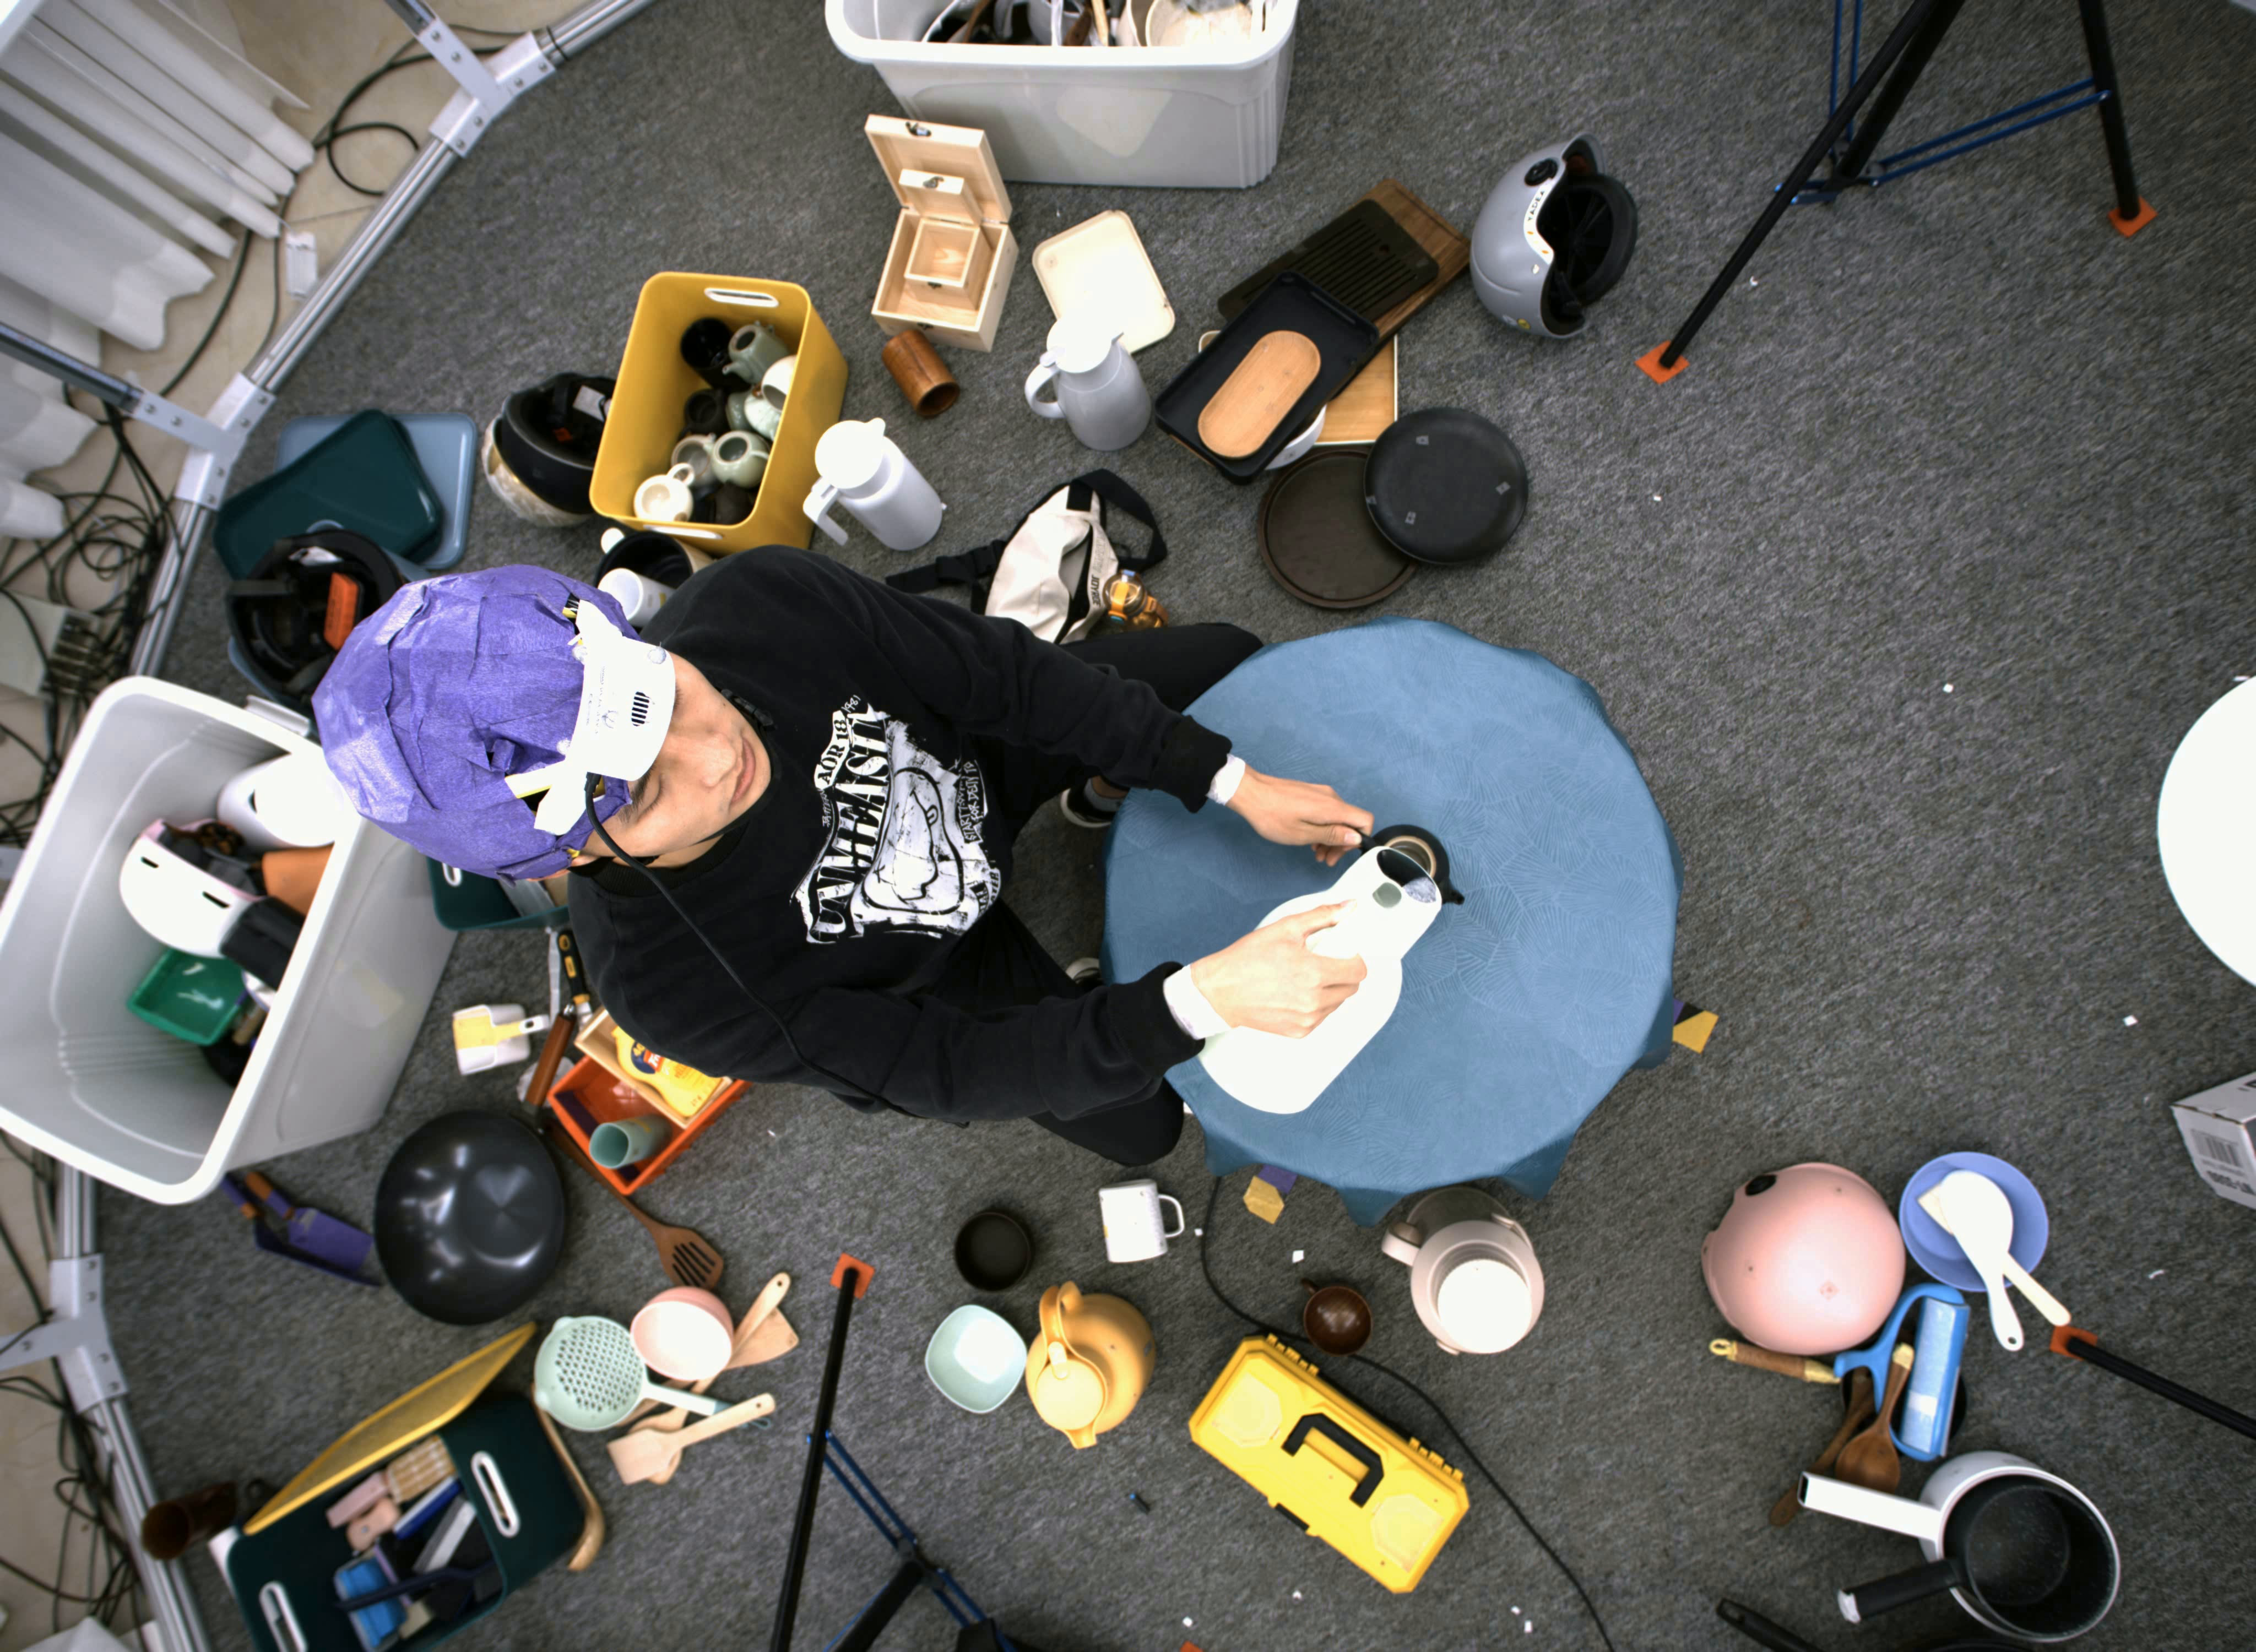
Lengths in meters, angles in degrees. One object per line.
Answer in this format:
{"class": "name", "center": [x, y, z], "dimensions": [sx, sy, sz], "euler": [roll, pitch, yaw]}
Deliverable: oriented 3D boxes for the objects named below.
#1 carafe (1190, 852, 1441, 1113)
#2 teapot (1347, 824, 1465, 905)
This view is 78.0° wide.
{"class": "carafe", "center": [0.167, 0.137, 1.225], "dimensions": [0.143, 0.183, 0.263], "euler": [43, 128, 11]}
{"class": "teapot", "center": [0.278, 0.040, 1.386], "dimensions": [0.133, 0.053, 0.091], "euler": [33, 87, 9]}
